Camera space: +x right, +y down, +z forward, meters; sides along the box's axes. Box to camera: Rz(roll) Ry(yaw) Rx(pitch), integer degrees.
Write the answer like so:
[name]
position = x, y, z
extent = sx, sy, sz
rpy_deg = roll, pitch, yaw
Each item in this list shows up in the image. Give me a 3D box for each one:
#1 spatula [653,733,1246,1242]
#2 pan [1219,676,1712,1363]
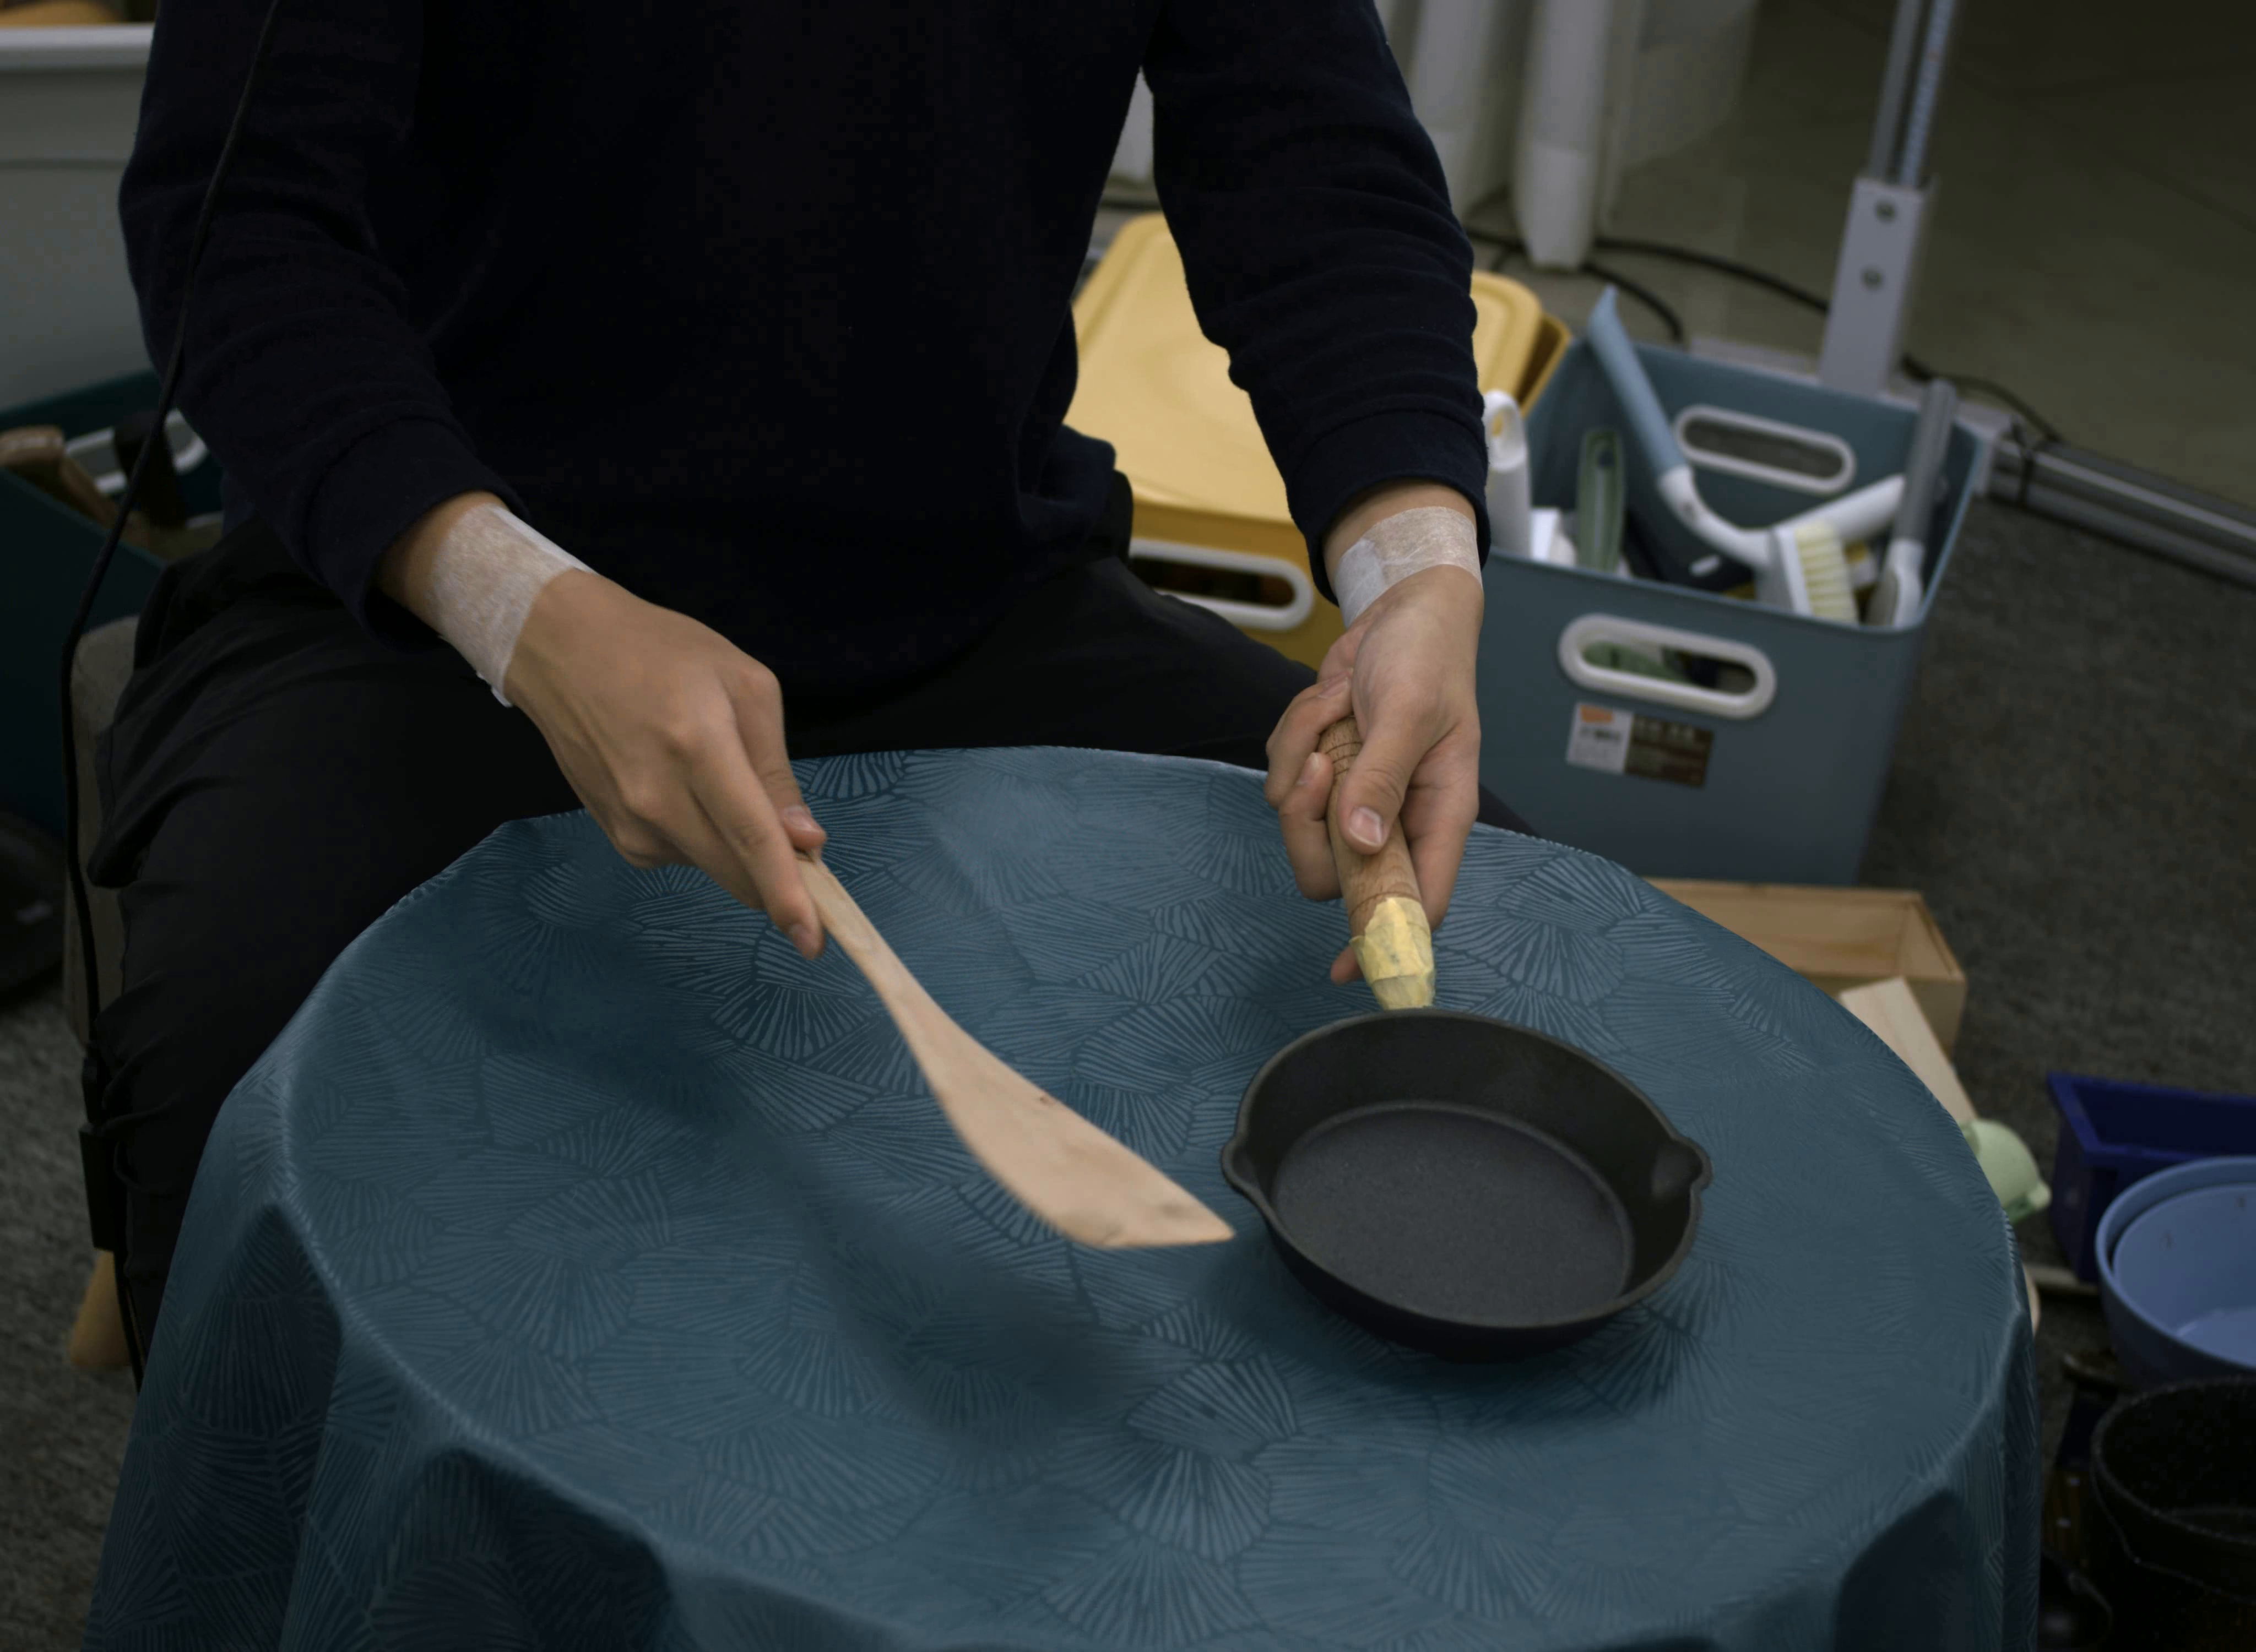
[spatula]
position = -0.071, 0.051, 1.757
extent = 0.079, 0.016, 0.330
rpy_deg = 12, 23, -43
[pan]
position = 0.100, 0.064, 1.830
extent = 0.168, 0.049, 0.327
rpy_deg = 2, 39, -11
